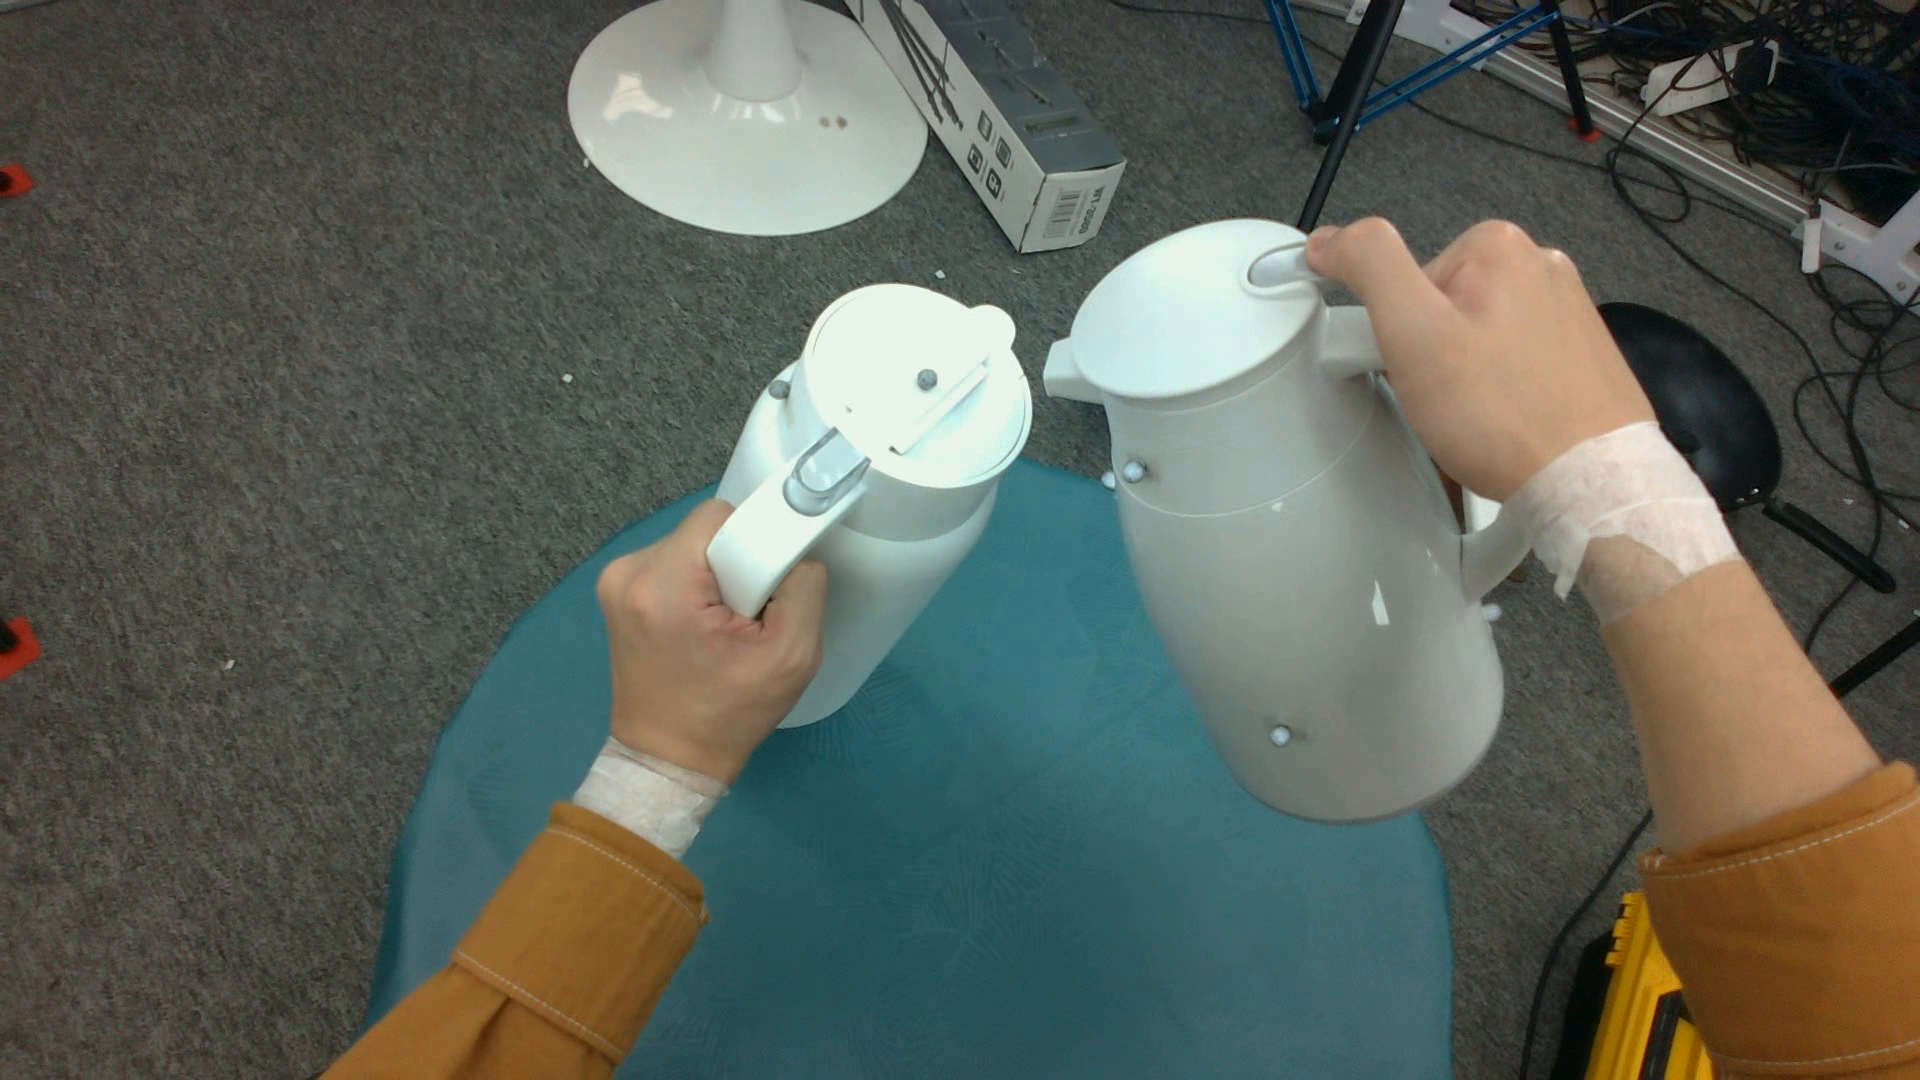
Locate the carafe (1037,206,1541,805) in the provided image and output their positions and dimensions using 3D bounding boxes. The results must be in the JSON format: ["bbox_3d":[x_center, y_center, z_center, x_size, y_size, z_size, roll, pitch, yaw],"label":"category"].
[{"bbox_3d":[0.144,-0.016,0.549,0.167,0.248,0.133,-8,46,26],"label":"carafe"}]

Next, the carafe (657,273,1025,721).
[{"bbox_3d":[-0.074,0.001,0.657,0.124,0.267,0.173,42,55,0],"label":"carafe"}]
